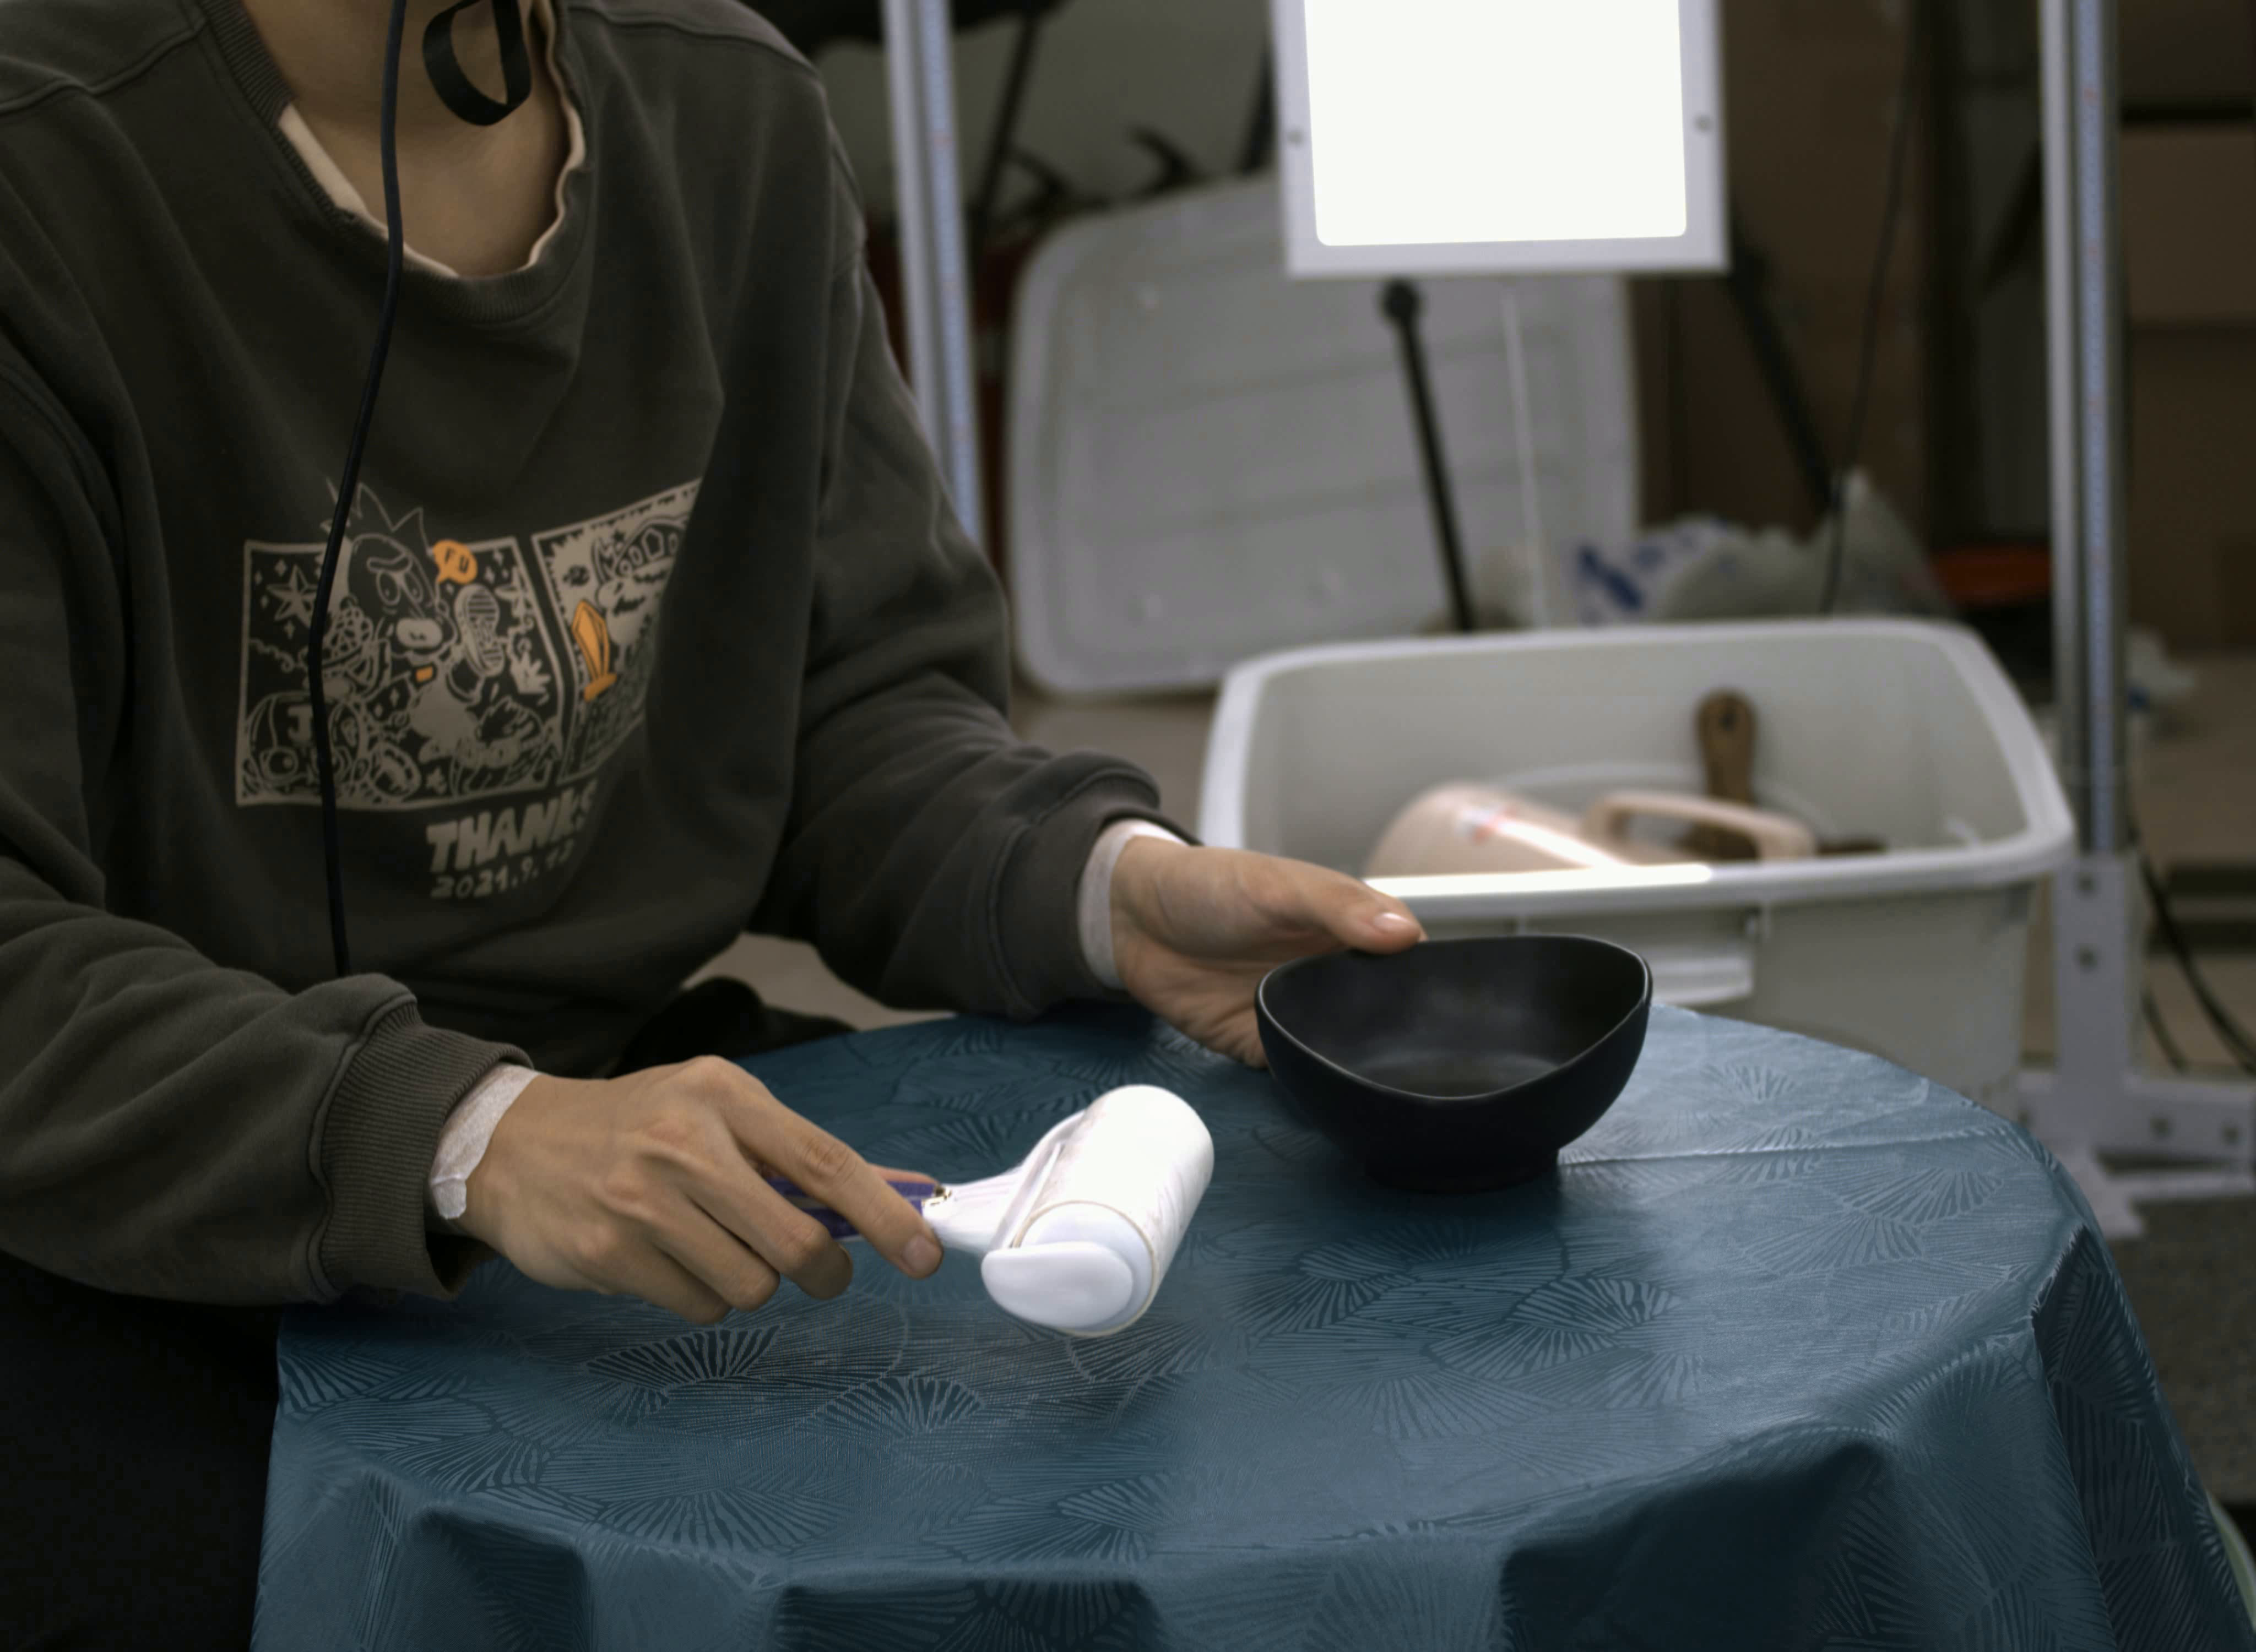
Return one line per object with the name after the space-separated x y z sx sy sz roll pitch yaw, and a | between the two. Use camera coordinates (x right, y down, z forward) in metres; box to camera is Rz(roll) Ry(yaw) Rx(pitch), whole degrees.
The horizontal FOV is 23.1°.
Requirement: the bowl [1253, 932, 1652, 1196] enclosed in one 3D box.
0.114 0.086 1.889 0.137 0.067 0.170 -6 16 2 | bowl

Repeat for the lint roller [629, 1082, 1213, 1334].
-0.068 0.110 1.729 0.182 0.050 0.131 8 20 12 | lint roller
